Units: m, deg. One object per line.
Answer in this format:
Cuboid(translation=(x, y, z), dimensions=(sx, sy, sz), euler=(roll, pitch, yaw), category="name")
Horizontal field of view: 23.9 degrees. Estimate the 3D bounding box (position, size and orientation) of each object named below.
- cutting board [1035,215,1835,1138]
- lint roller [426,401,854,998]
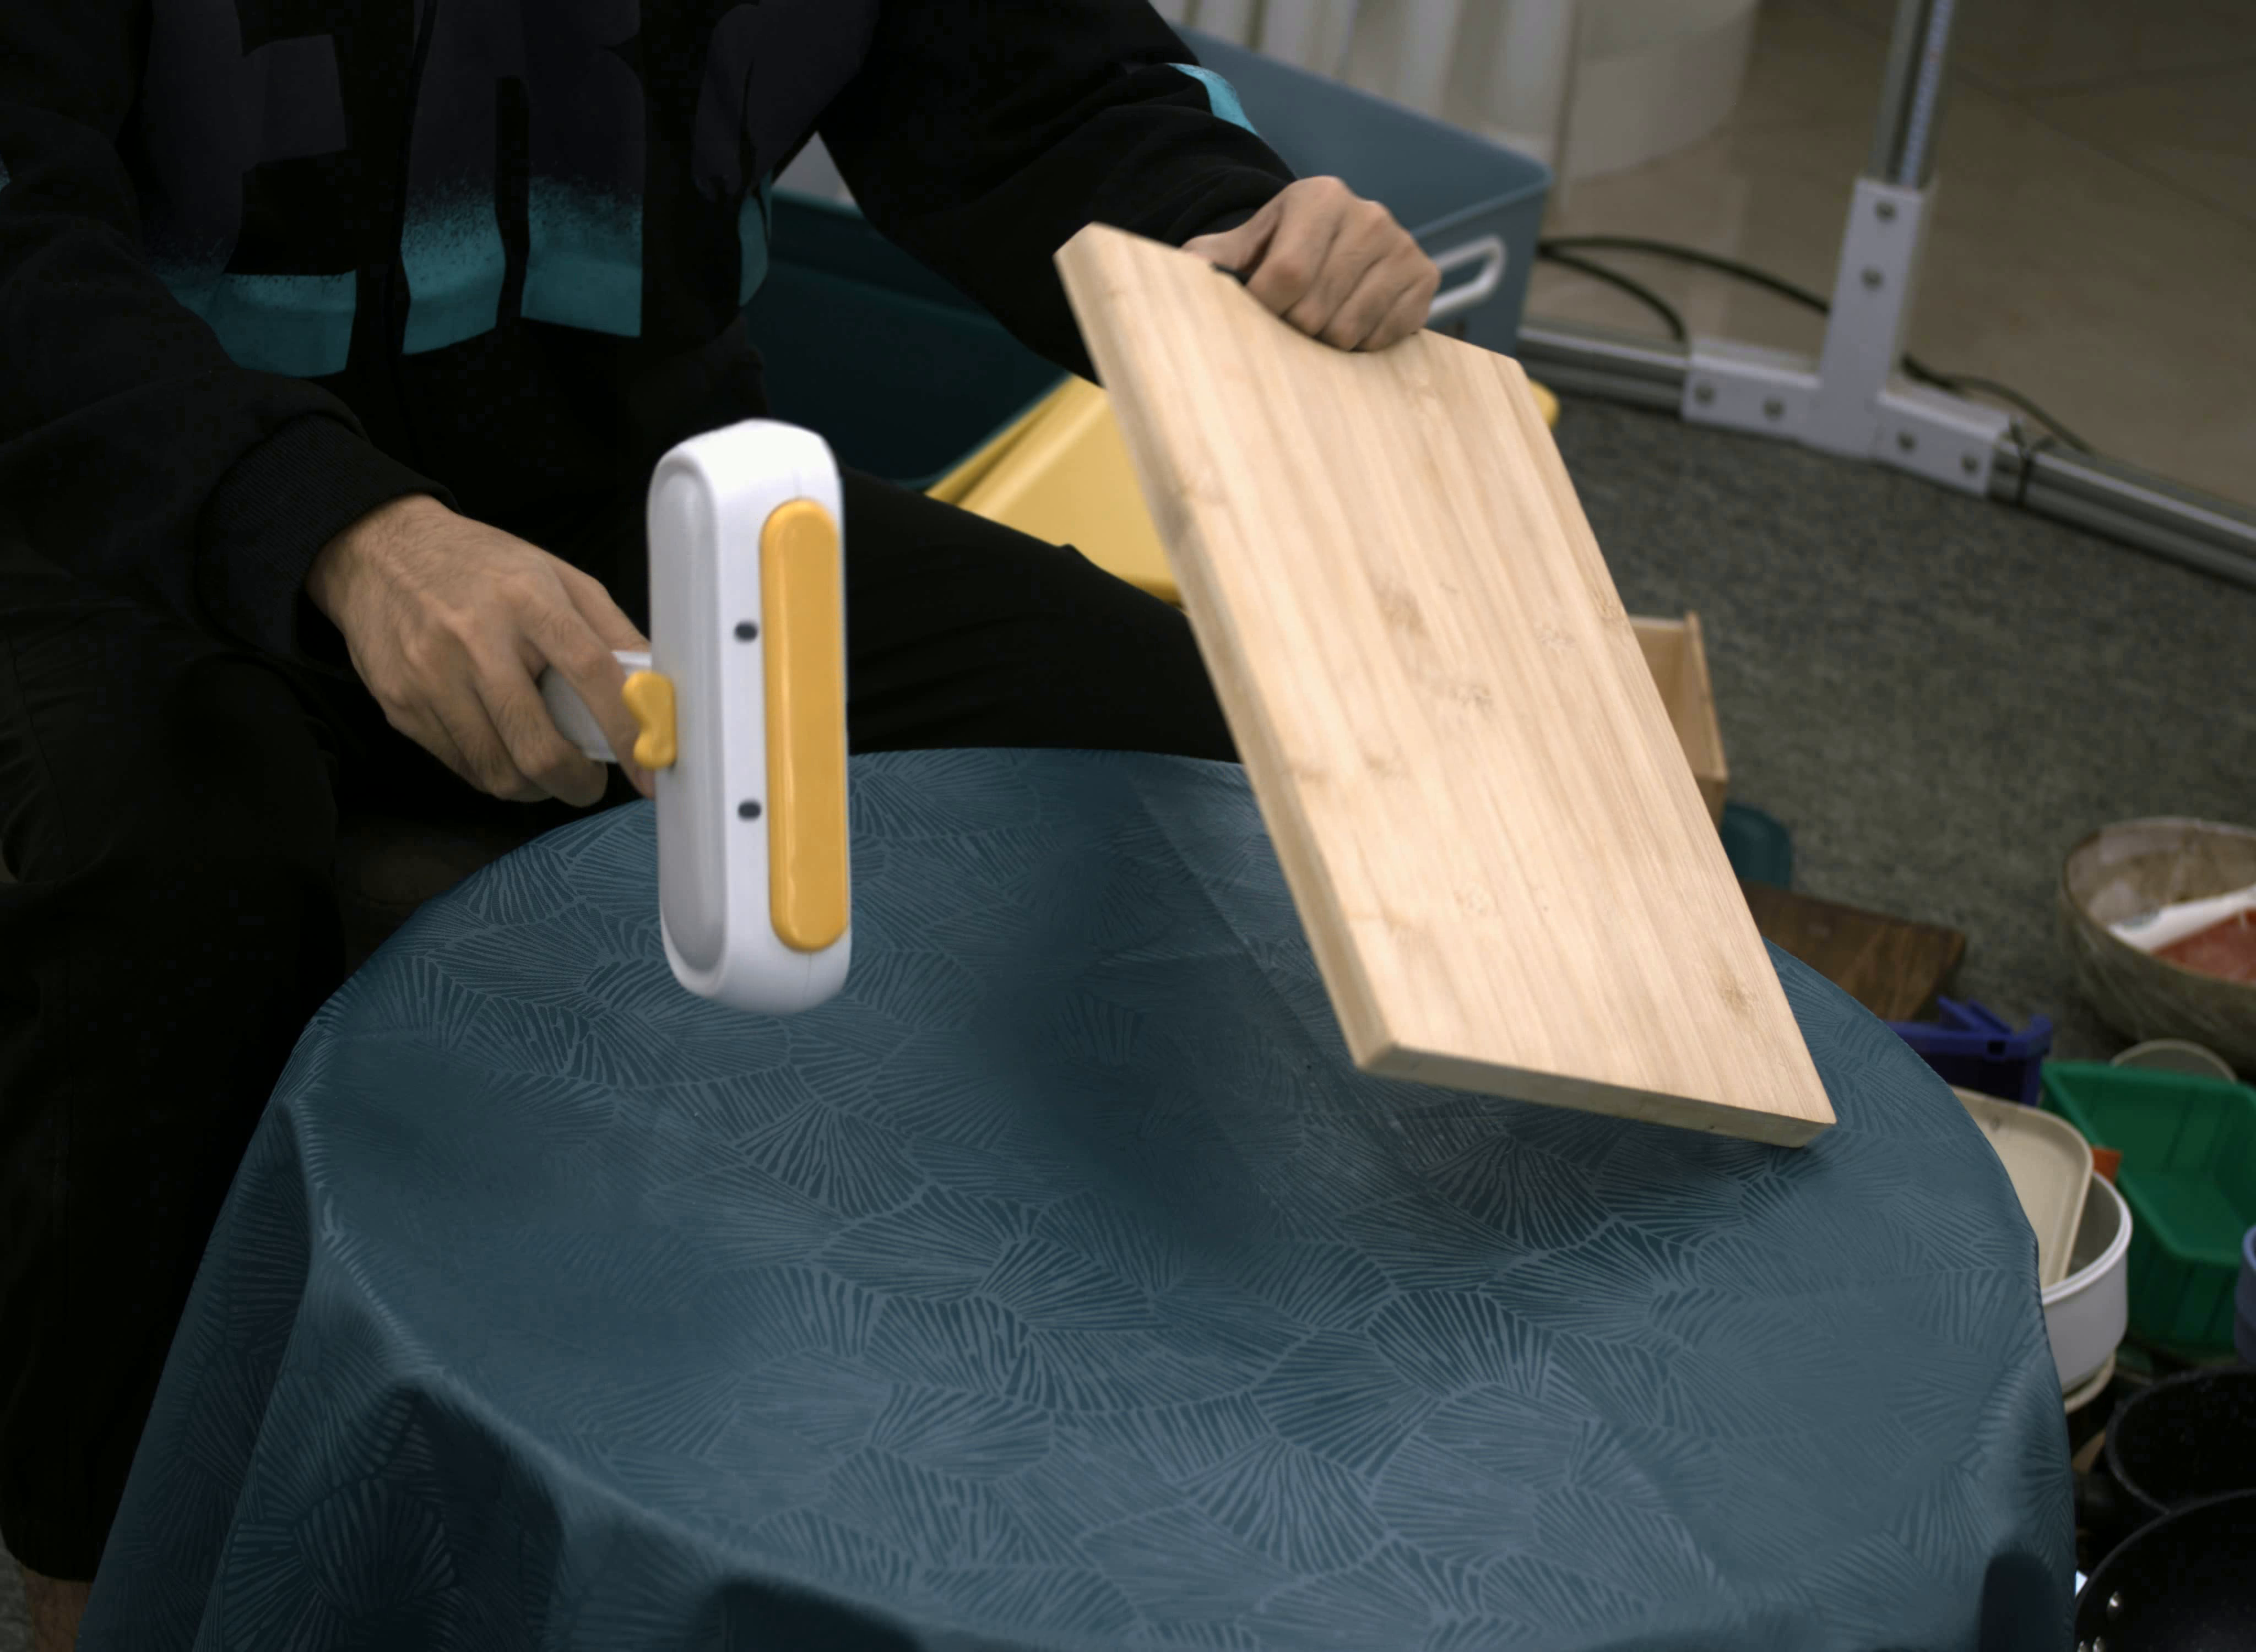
Cuboid(translation=(0.107, -0.051, 1.872), dimensions=(0.248, 0.023, 0.352), euler=(11, 49, -44), category="cutting board")
Cuboid(translation=(-0.164, -0.040, 1.761), dimensions=(0.074, 0.193, 0.193), euler=(-13, 9, -34), category="lint roller")
